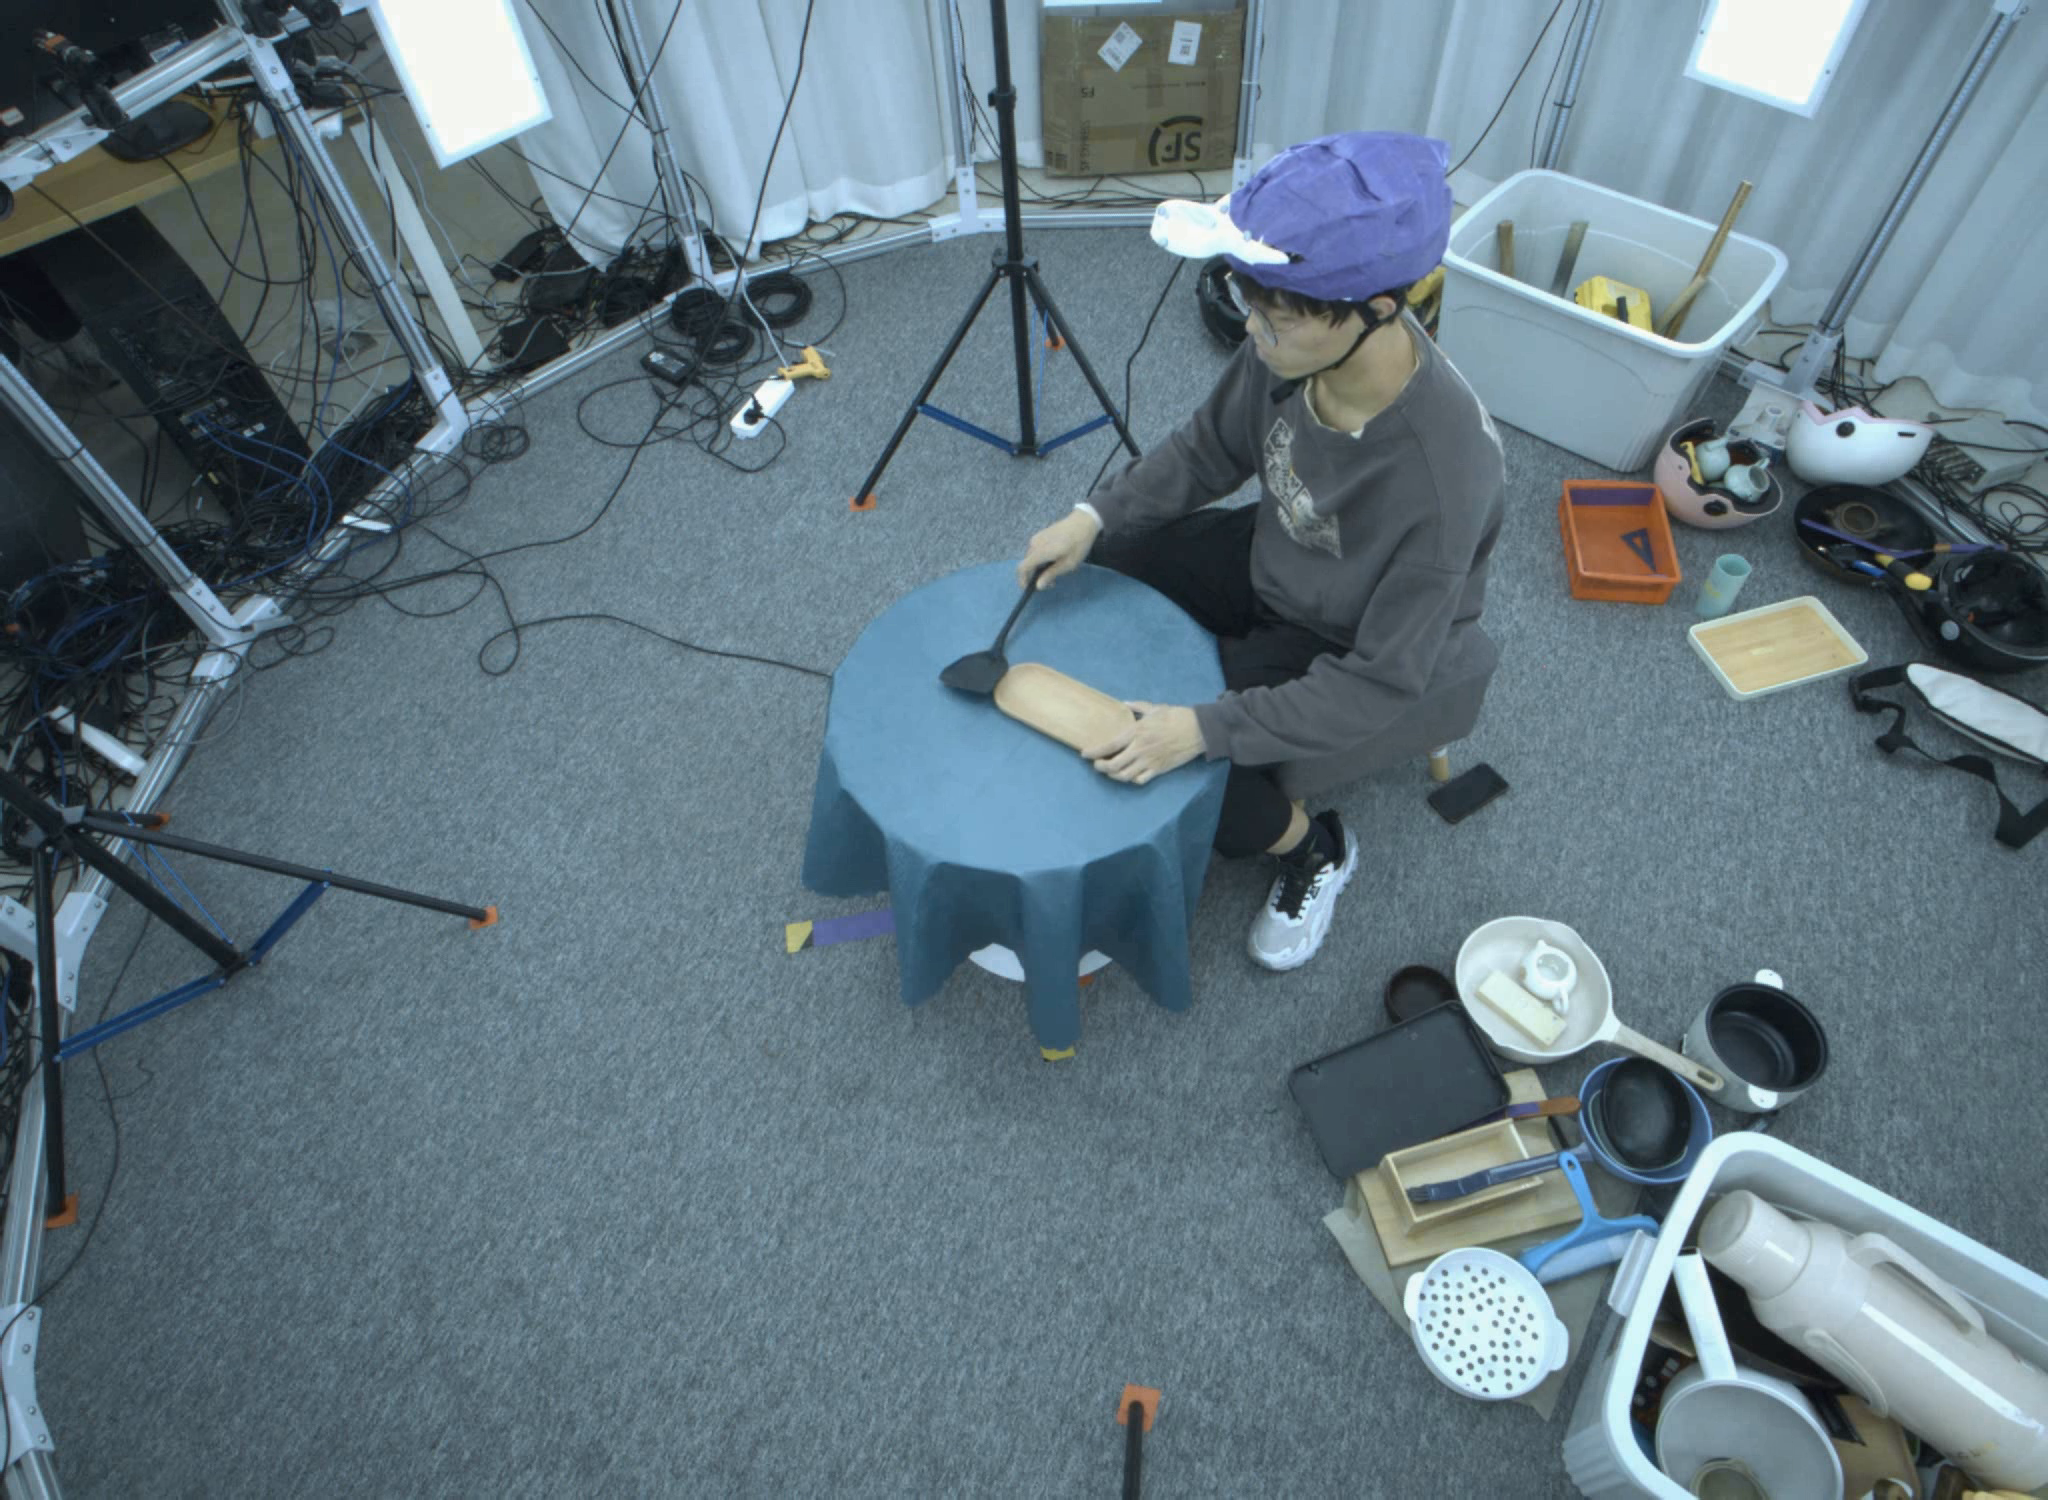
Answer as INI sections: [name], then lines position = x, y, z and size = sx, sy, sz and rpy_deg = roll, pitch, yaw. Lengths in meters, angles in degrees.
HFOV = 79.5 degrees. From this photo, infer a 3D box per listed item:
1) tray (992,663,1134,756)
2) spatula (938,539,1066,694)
[tray]
position = 0.057, -0.060, 1.814
size = 0.227, 0.020, 0.102
rpy_deg = 26, 60, 22
[spatula]
position = -0.015, -0.213, 1.898
size = 0.098, 0.041, 0.326
rpy_deg = 18, 66, 26
